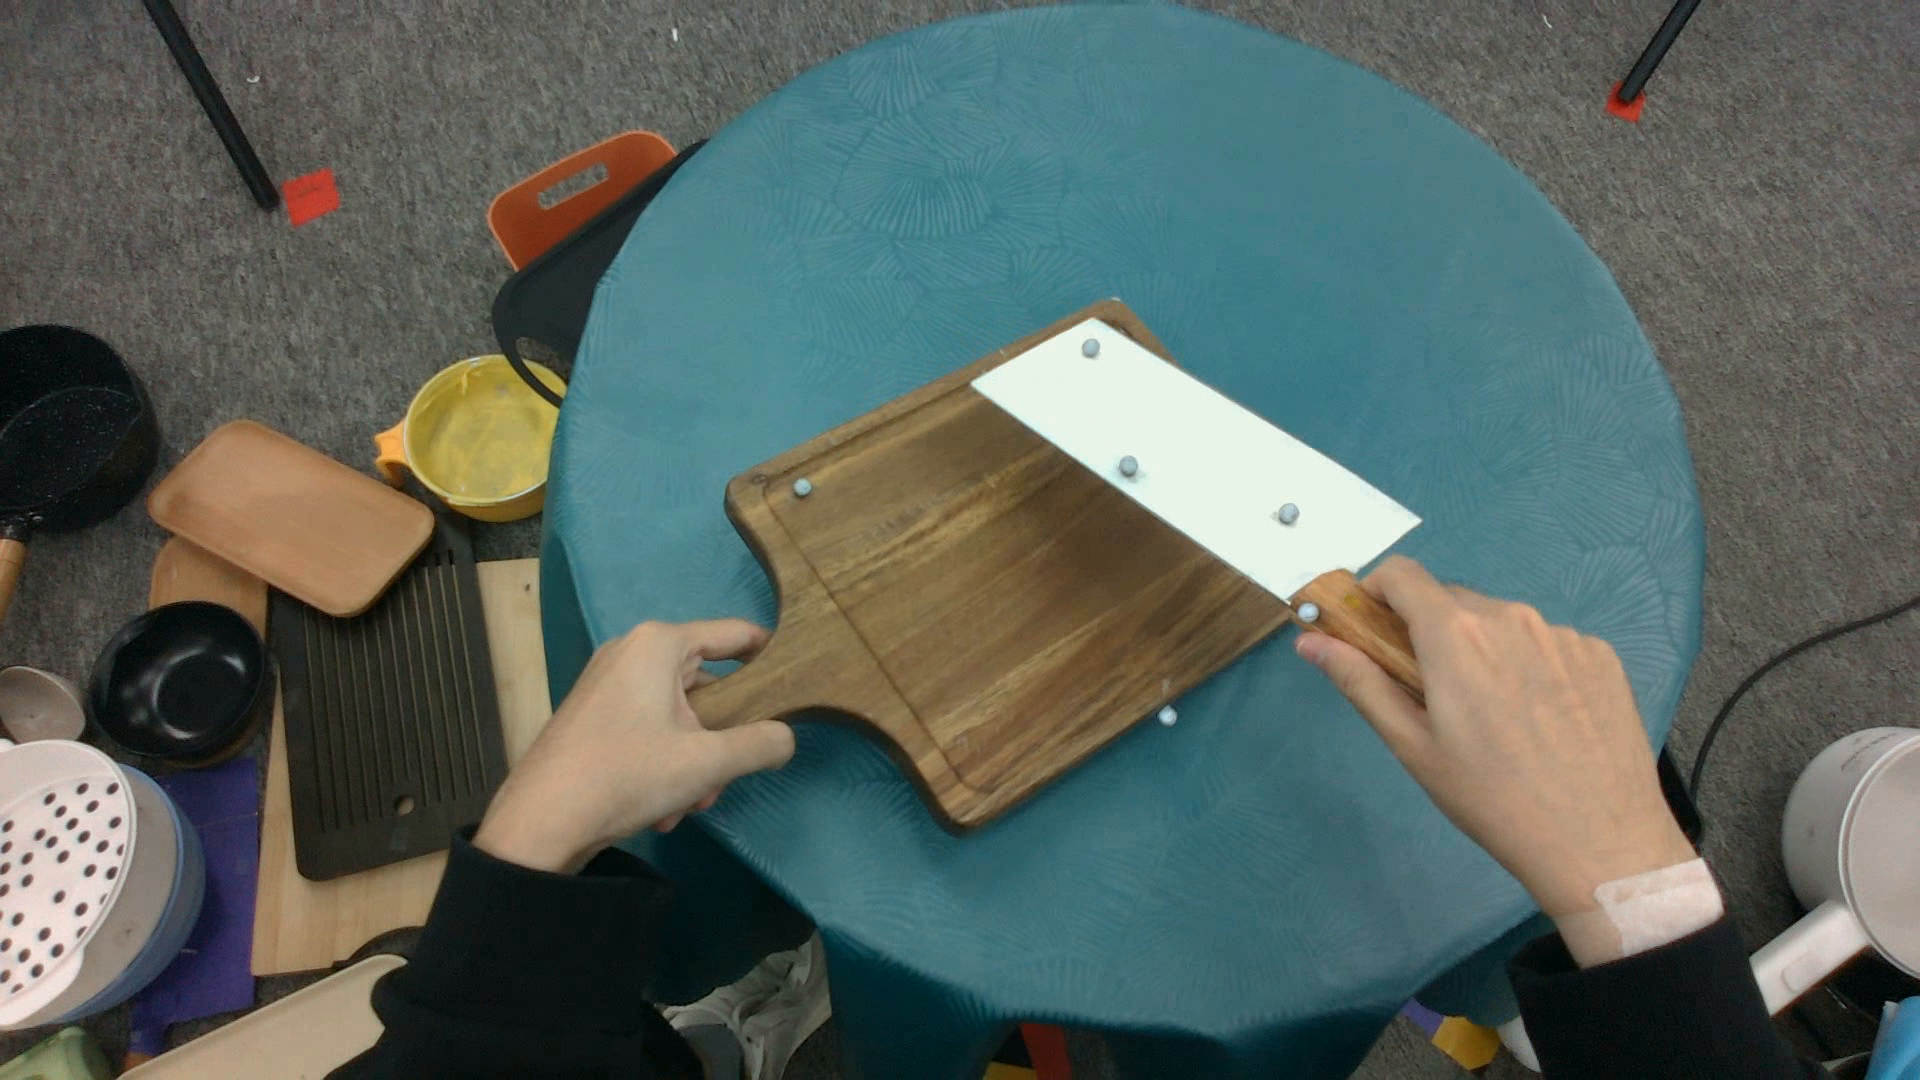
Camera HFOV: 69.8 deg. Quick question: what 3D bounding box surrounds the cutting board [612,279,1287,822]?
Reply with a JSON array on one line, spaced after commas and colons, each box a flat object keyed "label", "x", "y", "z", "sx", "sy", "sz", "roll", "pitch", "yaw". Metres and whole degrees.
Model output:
[{"label": "cutting board", "x": -0.004, "y": 0.012, "z": 0.638, "sx": 0.353, "sy": 0.023, "sz": 0.201, "roll": -30, "pitch": 72, "yaw": -28}]

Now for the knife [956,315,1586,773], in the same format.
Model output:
[{"label": "knife", "x": 0.133, "y": -0.017, "z": 0.587, "sx": 0.306, "sy": 0.021, "sz": 0.093, "roll": 37, "pitch": 50, "yaw": 26}]
